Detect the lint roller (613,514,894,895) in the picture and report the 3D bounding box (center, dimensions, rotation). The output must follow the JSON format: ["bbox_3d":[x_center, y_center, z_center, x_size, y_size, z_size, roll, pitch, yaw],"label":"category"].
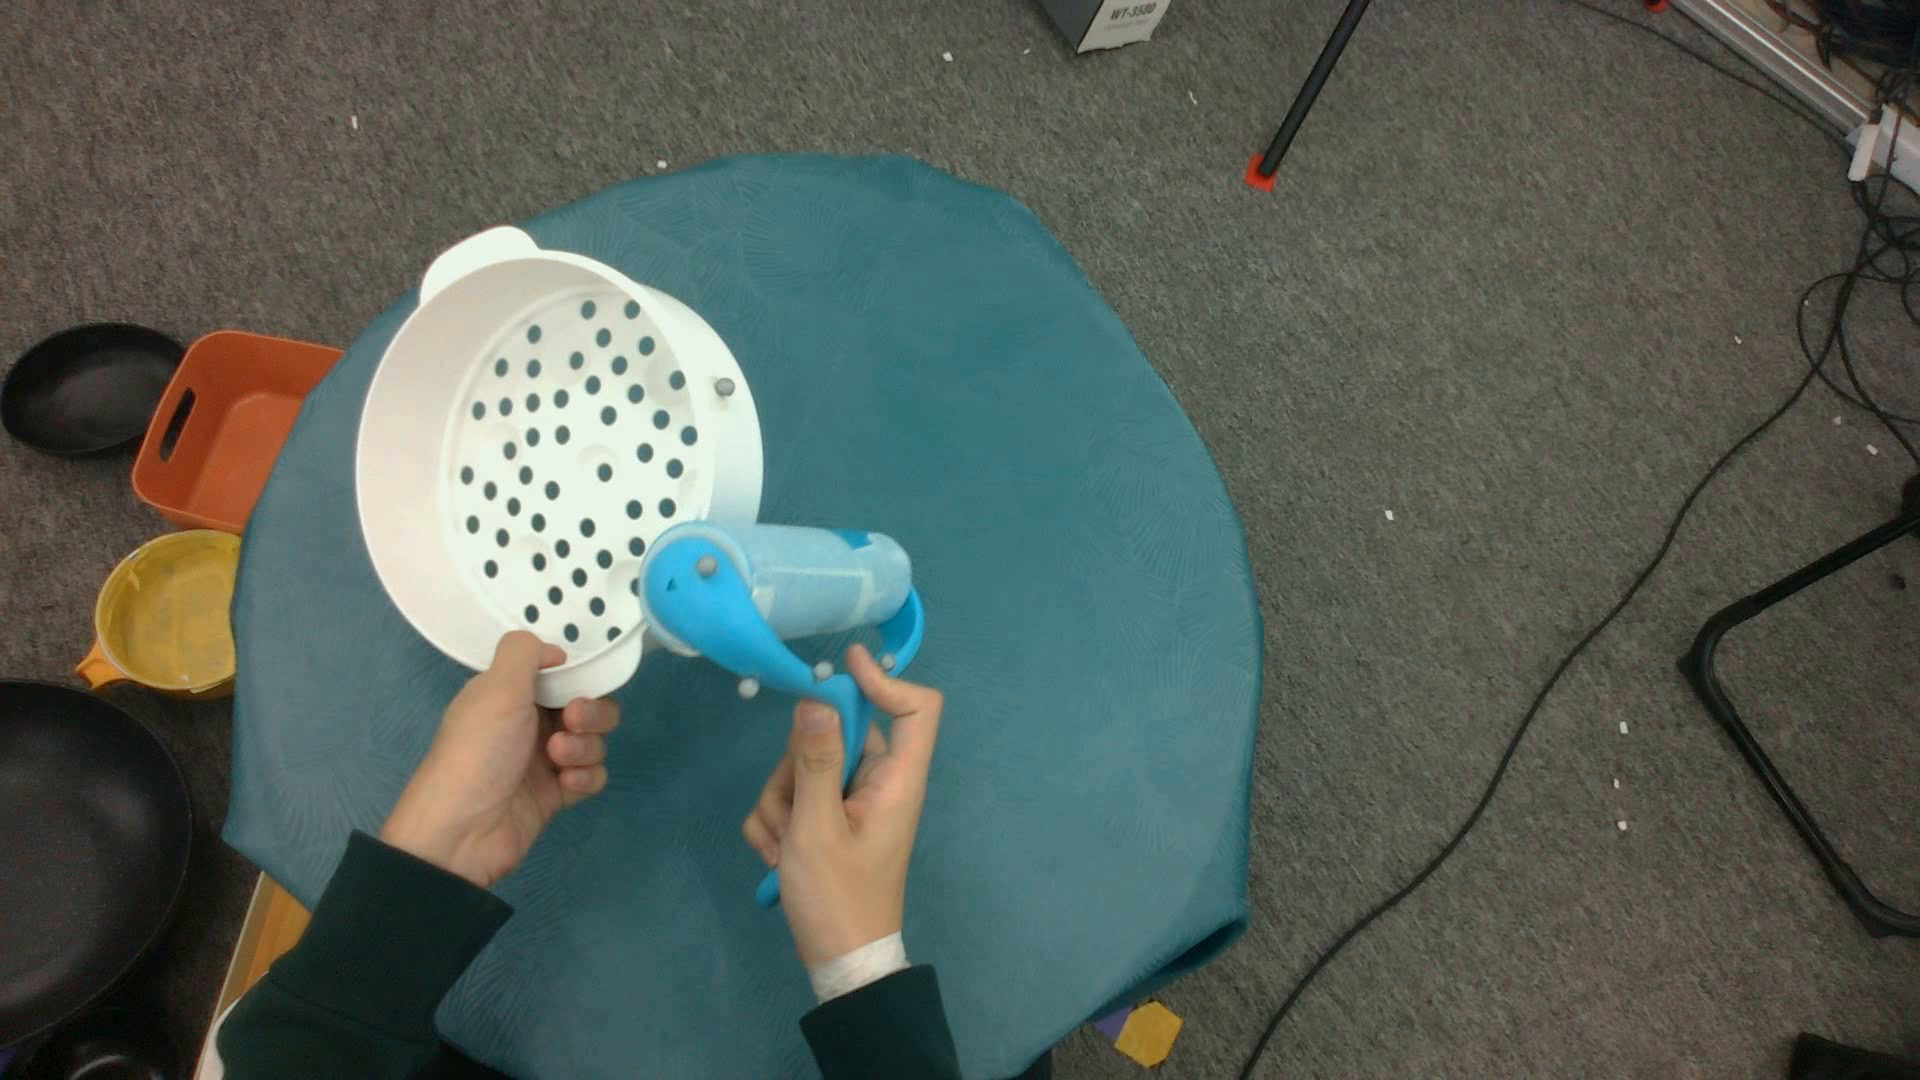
[{"bbox_3d":[-0.084,0.076,0.654,0.068,0.229,0.180,-8,92,14],"label":"lint roller"}]

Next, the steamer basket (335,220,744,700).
[{"bbox_3d":[-0.204,-0.040,0.670,0.201,0.069,0.230,-21,84,20],"label":"steamer basket"}]
